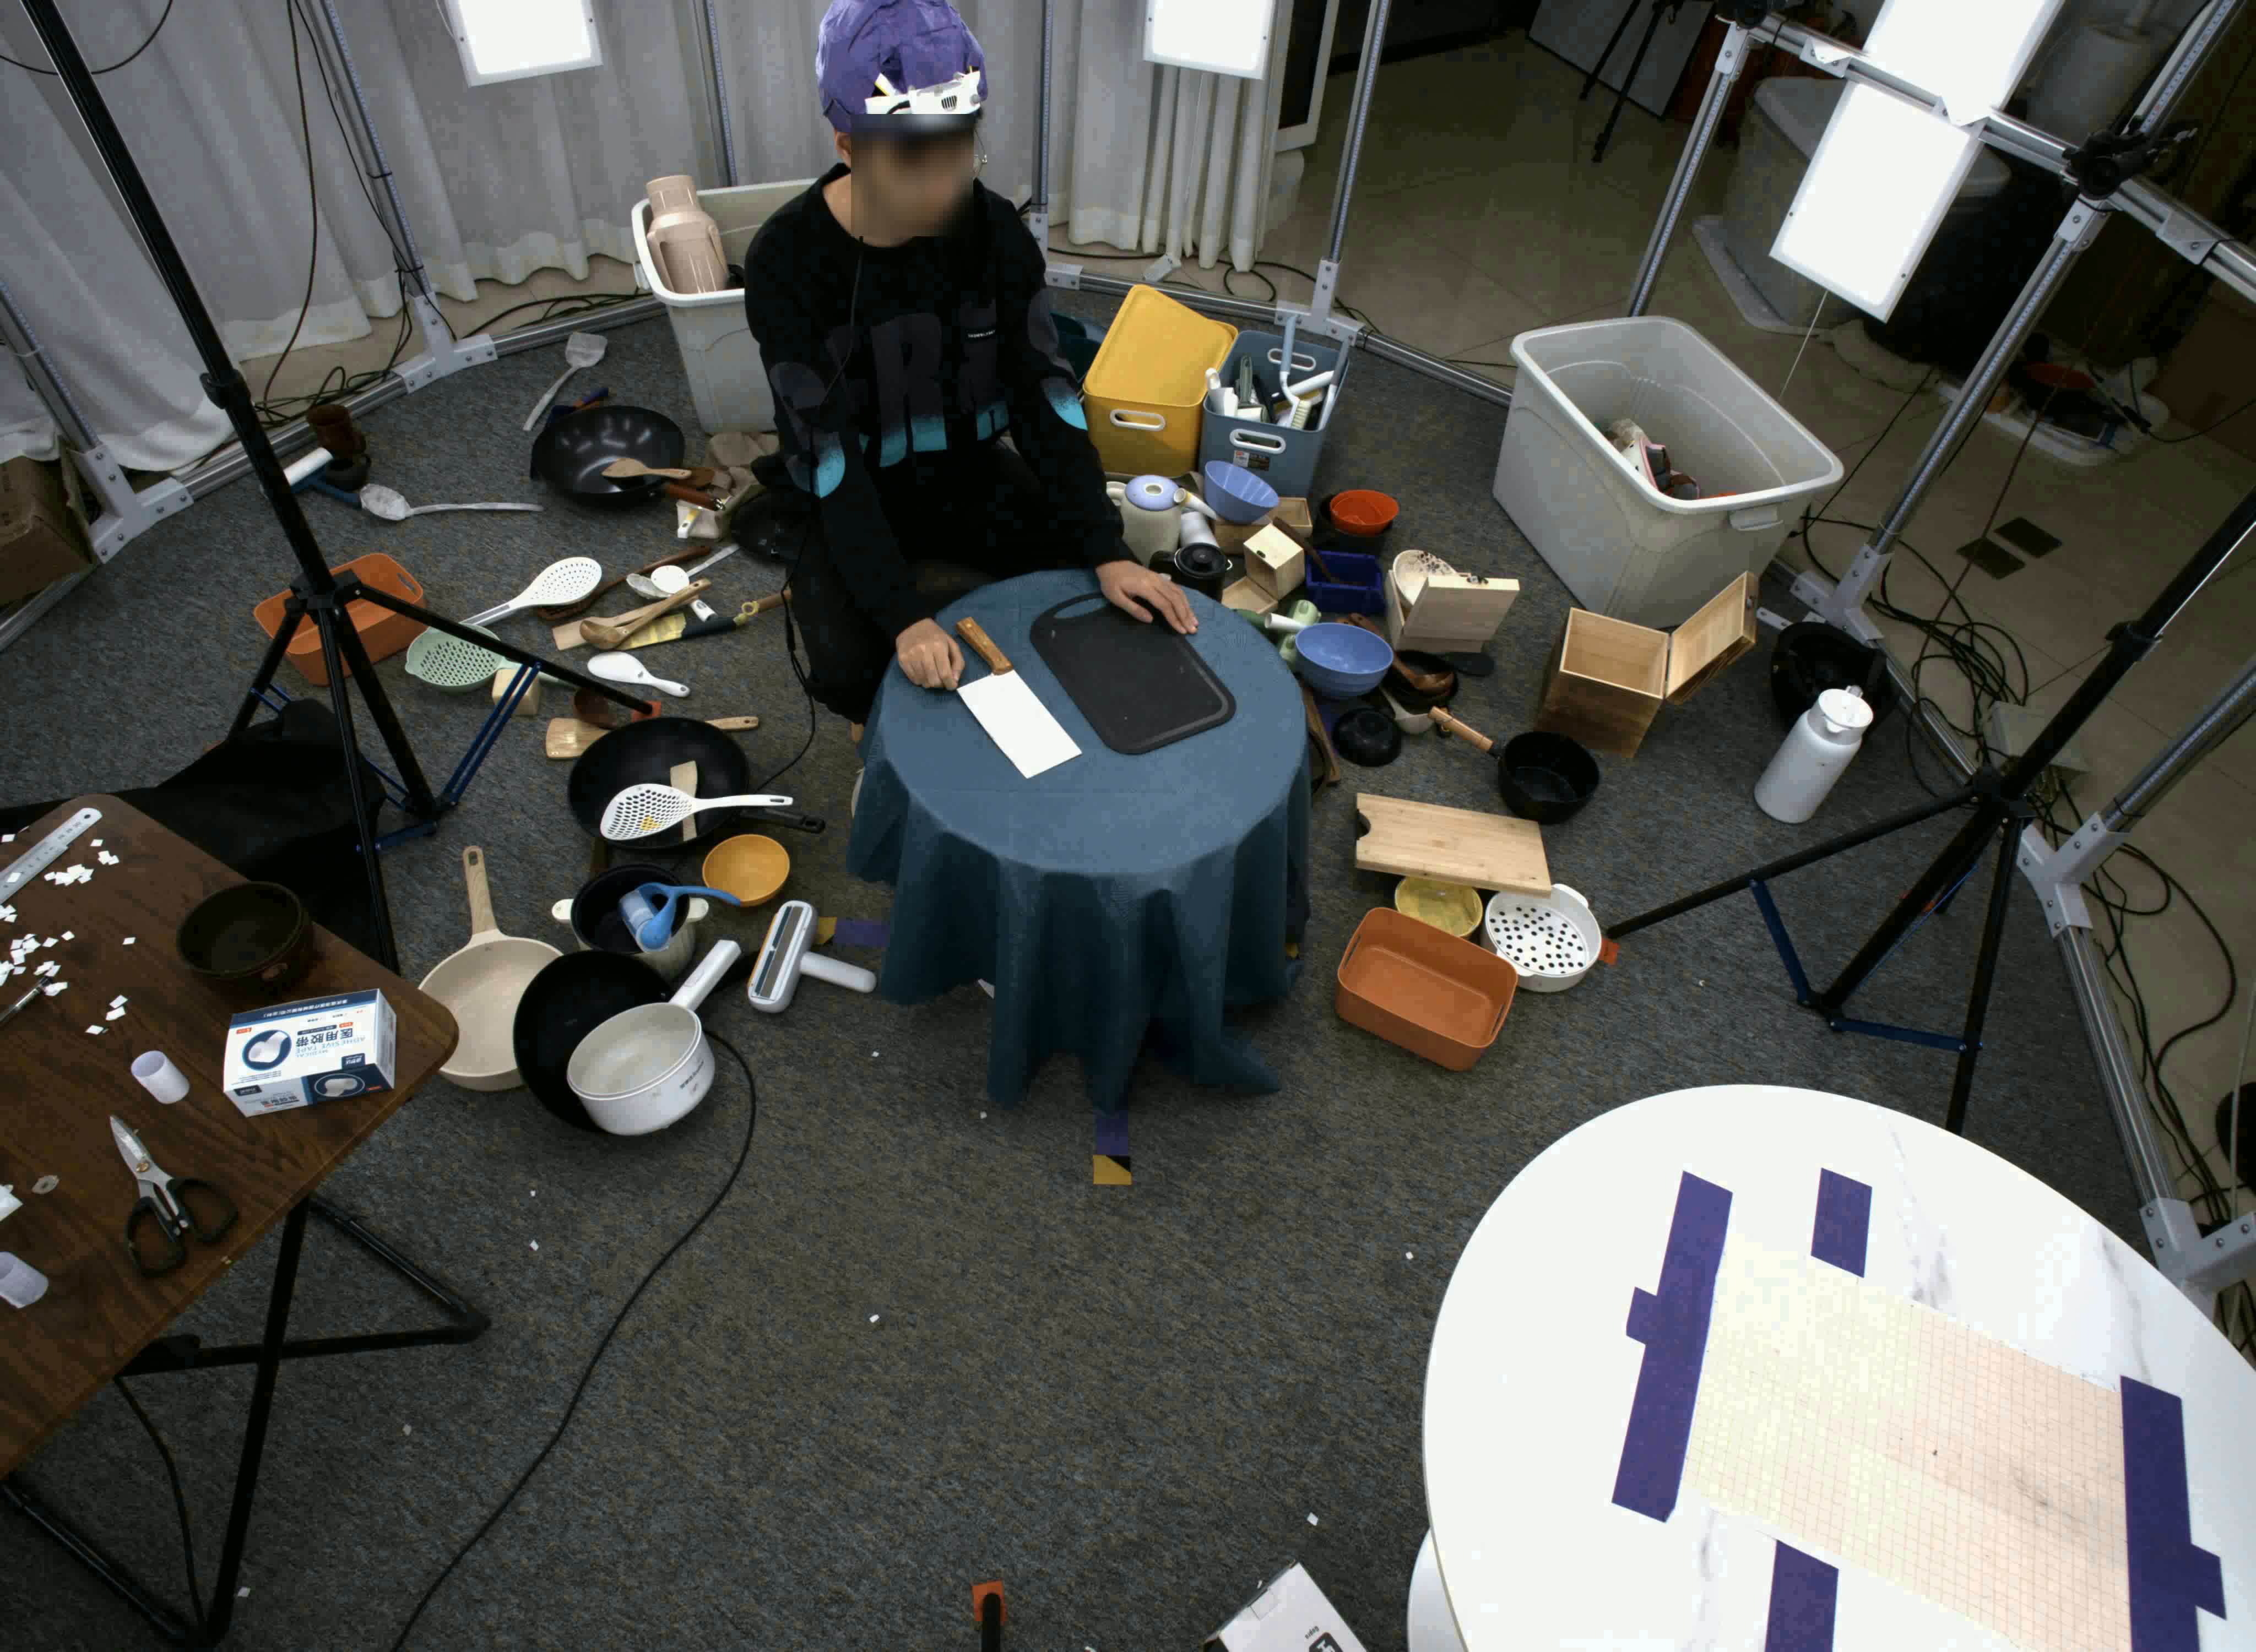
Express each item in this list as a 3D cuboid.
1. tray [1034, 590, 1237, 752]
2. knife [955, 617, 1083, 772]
[{"bbox_3d":[0.003,-0.237,1.869,0.211,0.009,0.332,-20,54,-20],"label":"tray"},{"bbox_3d":[-0.178,-0.186,1.808,0.093,0.020,0.312,-26,57,-22],"label":"knife"}]
